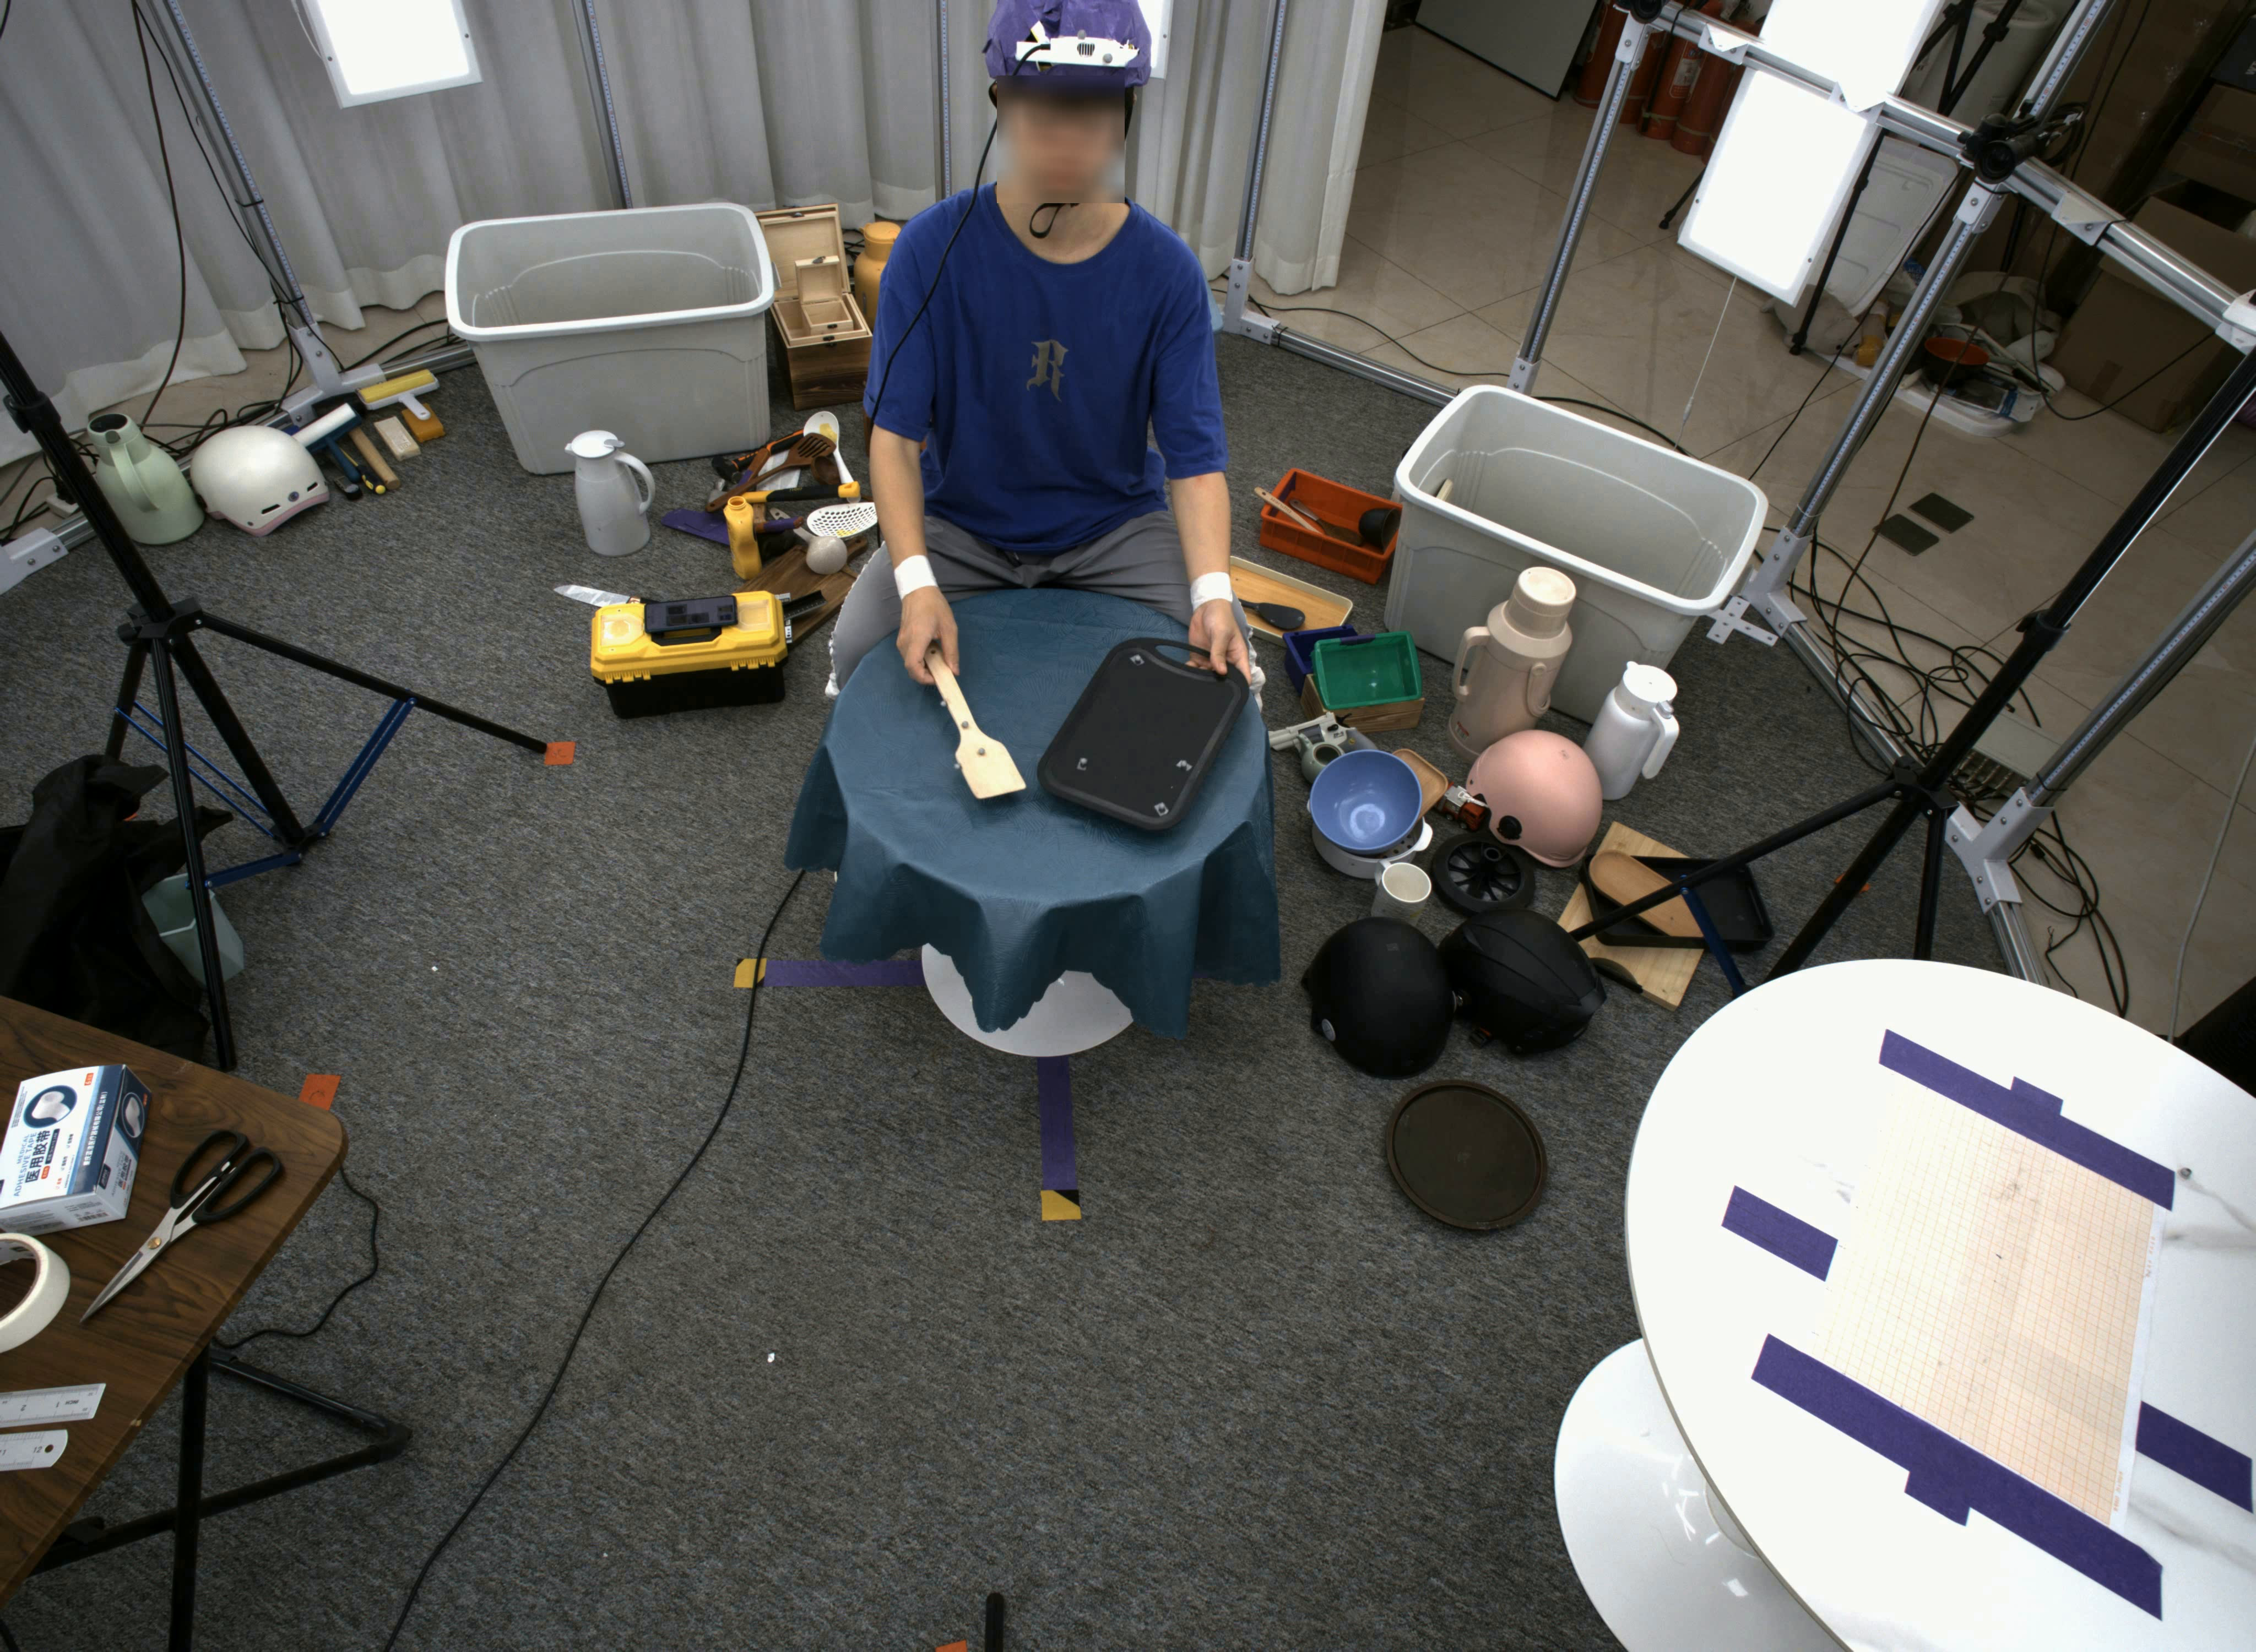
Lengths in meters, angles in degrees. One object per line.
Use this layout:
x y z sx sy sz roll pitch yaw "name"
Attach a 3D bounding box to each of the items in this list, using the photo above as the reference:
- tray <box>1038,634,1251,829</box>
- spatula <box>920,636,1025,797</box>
0.029 -0.142 1.738 0.212 0.009 0.331 21 56 15 "tray"
-0.224 -0.154 1.740 0.072 0.010 0.299 -14 56 -22 "spatula"
